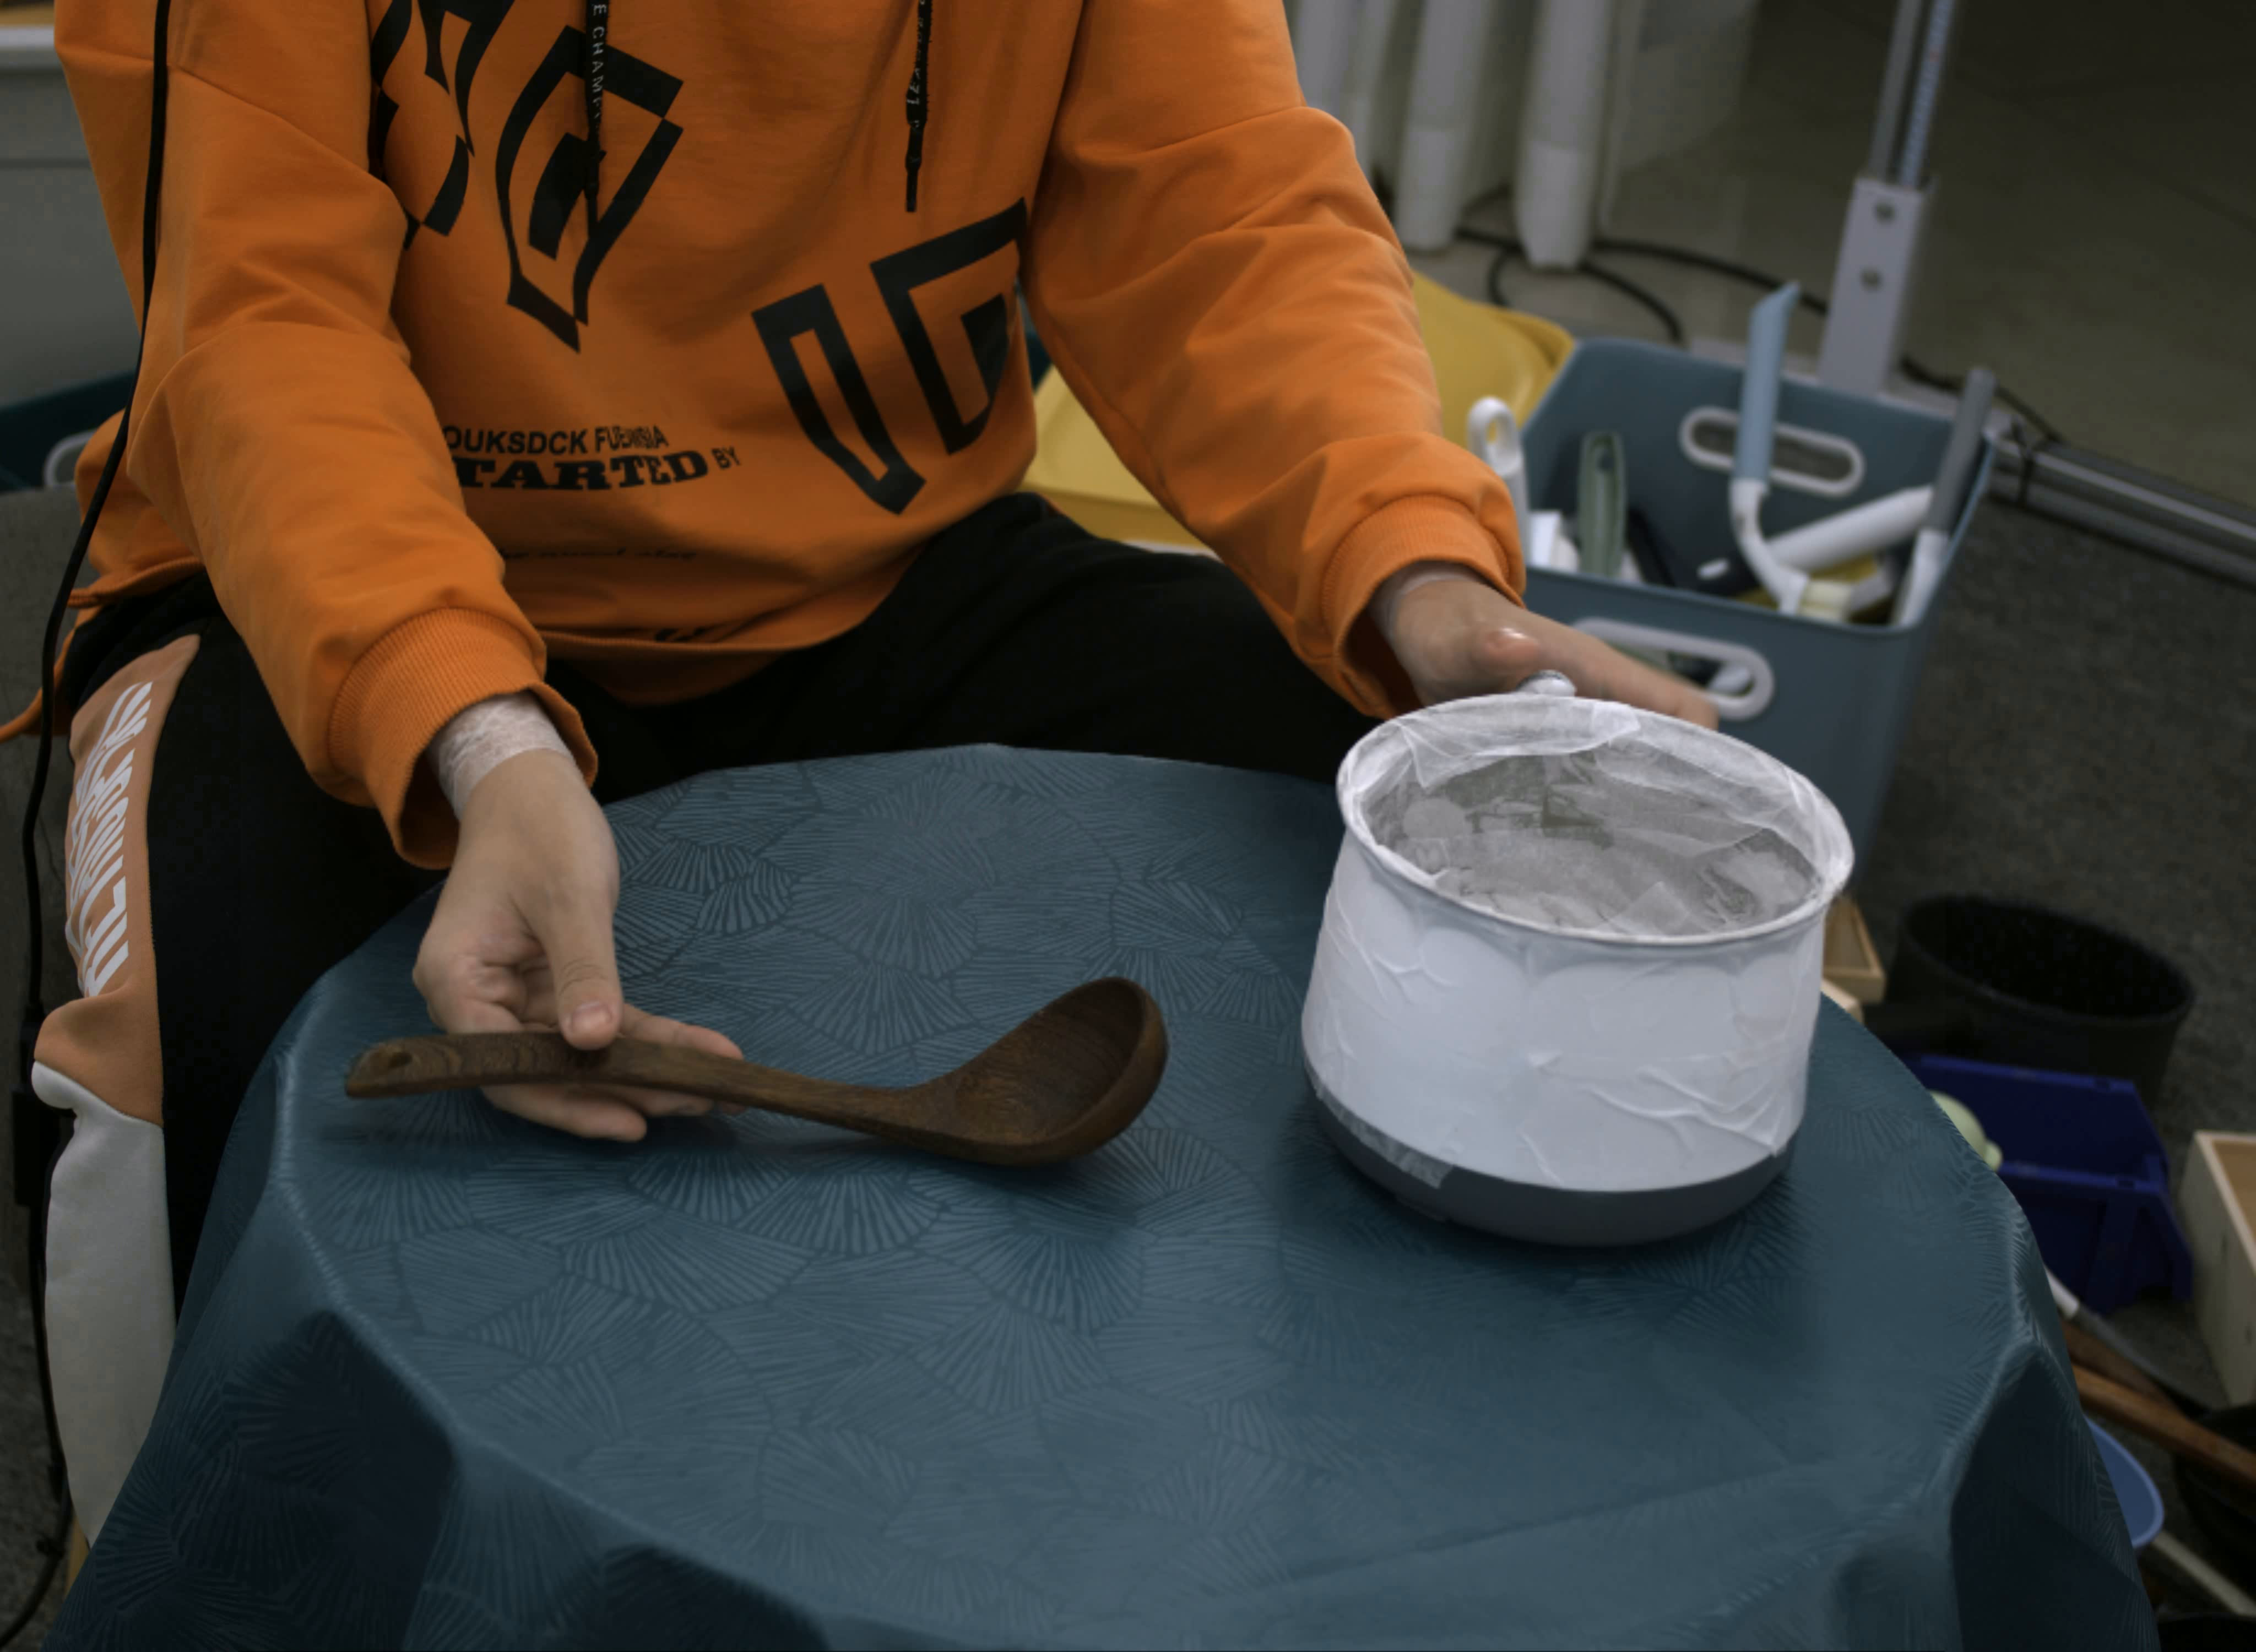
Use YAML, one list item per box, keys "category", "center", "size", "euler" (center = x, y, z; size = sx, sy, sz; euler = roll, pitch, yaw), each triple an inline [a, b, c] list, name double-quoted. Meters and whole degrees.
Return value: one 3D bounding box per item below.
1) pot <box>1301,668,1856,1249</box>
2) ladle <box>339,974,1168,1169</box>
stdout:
- category: "pot"
  center: [0.148, 0.038, 1.851]
  size: [0.178, 0.136, 0.235]
  euler: [3, 28, -9]
- category: "ladle"
  center: [-0.124, 0.071, 1.786]
  size: [0.272, 0.071, 0.076]
  euler: [7, 26, -12]
